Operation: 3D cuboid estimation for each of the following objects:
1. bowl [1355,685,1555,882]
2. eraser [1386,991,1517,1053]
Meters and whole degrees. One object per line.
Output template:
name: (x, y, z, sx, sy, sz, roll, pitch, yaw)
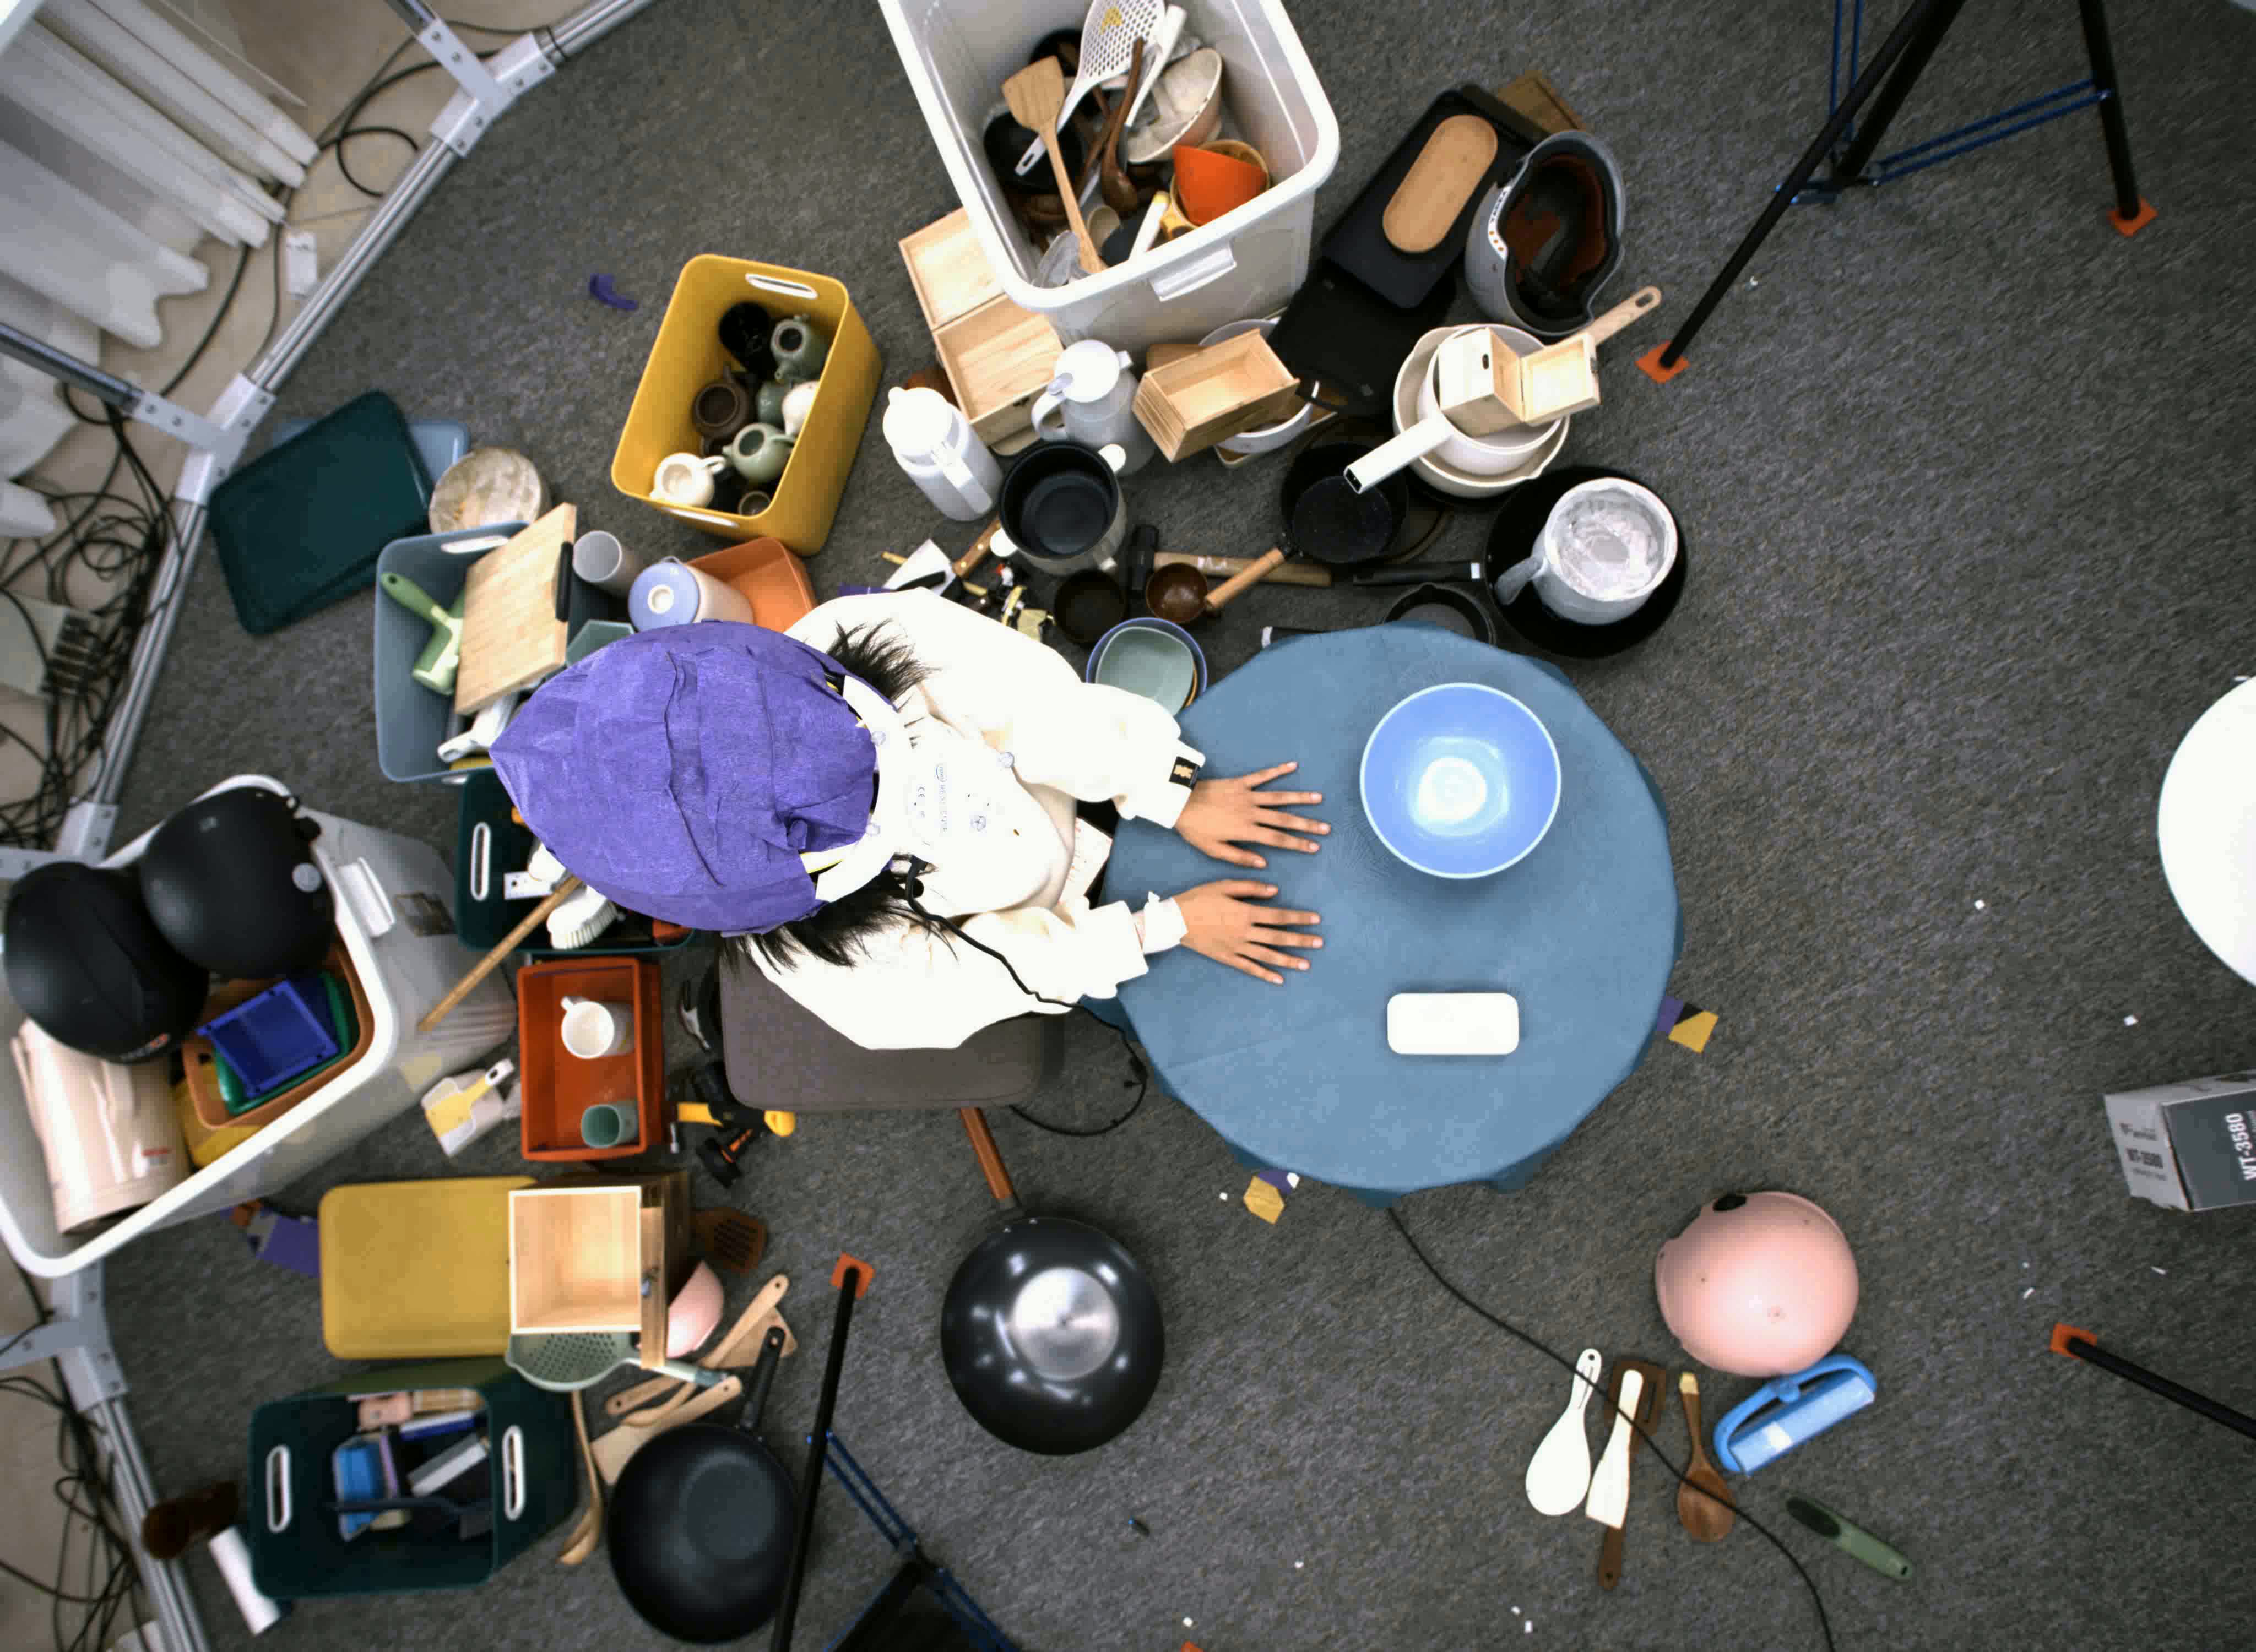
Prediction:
bowl: (0.328, -0.042, 1.409, 0.197, 0.095, 0.196, 0, 89, 6)
eraser: (0.333, 0.200, 1.426, 0.132, 0.034, 0.063, -1, 85, 10)
